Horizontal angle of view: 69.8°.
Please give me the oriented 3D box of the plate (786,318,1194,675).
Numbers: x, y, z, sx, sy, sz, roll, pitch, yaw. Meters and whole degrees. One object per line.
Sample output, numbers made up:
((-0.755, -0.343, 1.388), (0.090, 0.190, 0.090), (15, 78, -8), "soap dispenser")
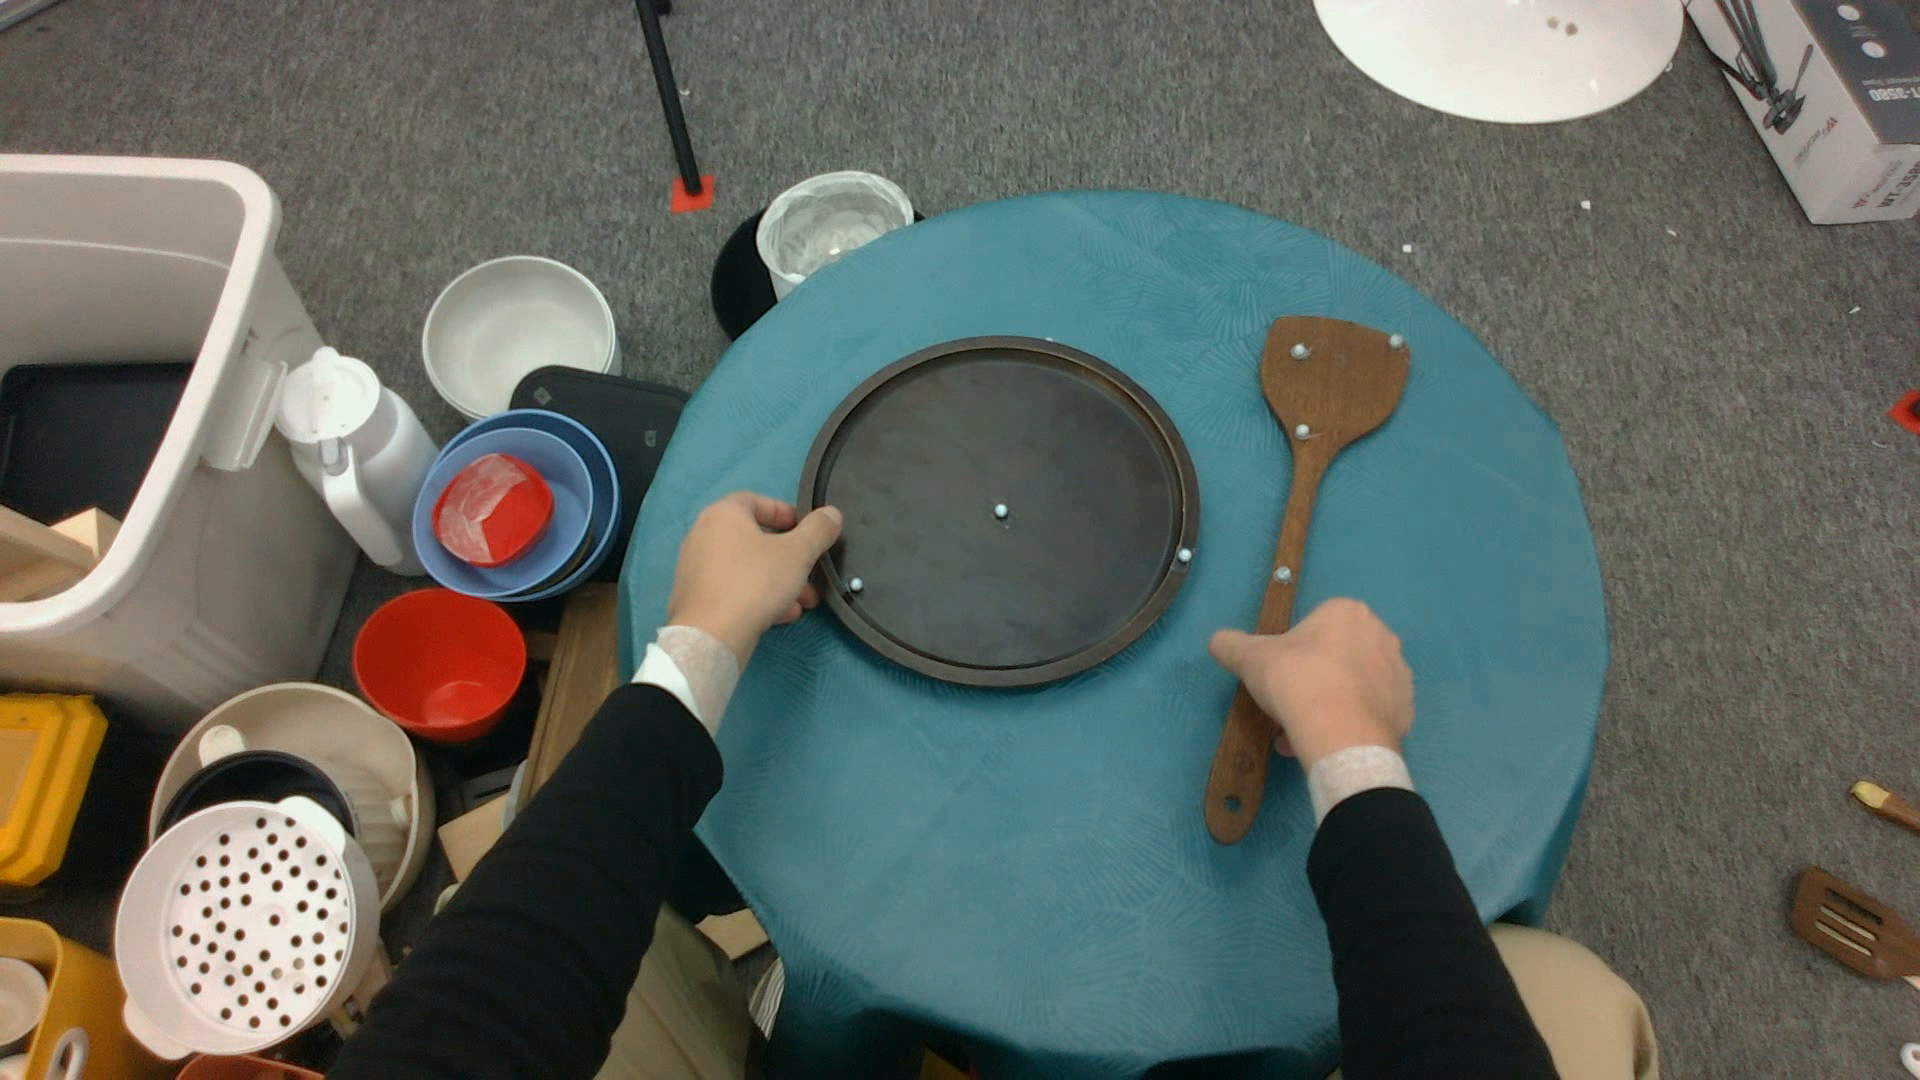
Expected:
((0.018, -0.032, 0.862), (0.255, 0.029, 0.256), (0, 63, 0), "plate")

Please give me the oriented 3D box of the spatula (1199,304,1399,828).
((0.195, -0.003, 0.833), (0.096, 0.016, 0.388), (14, 57, 10), "spatula")
